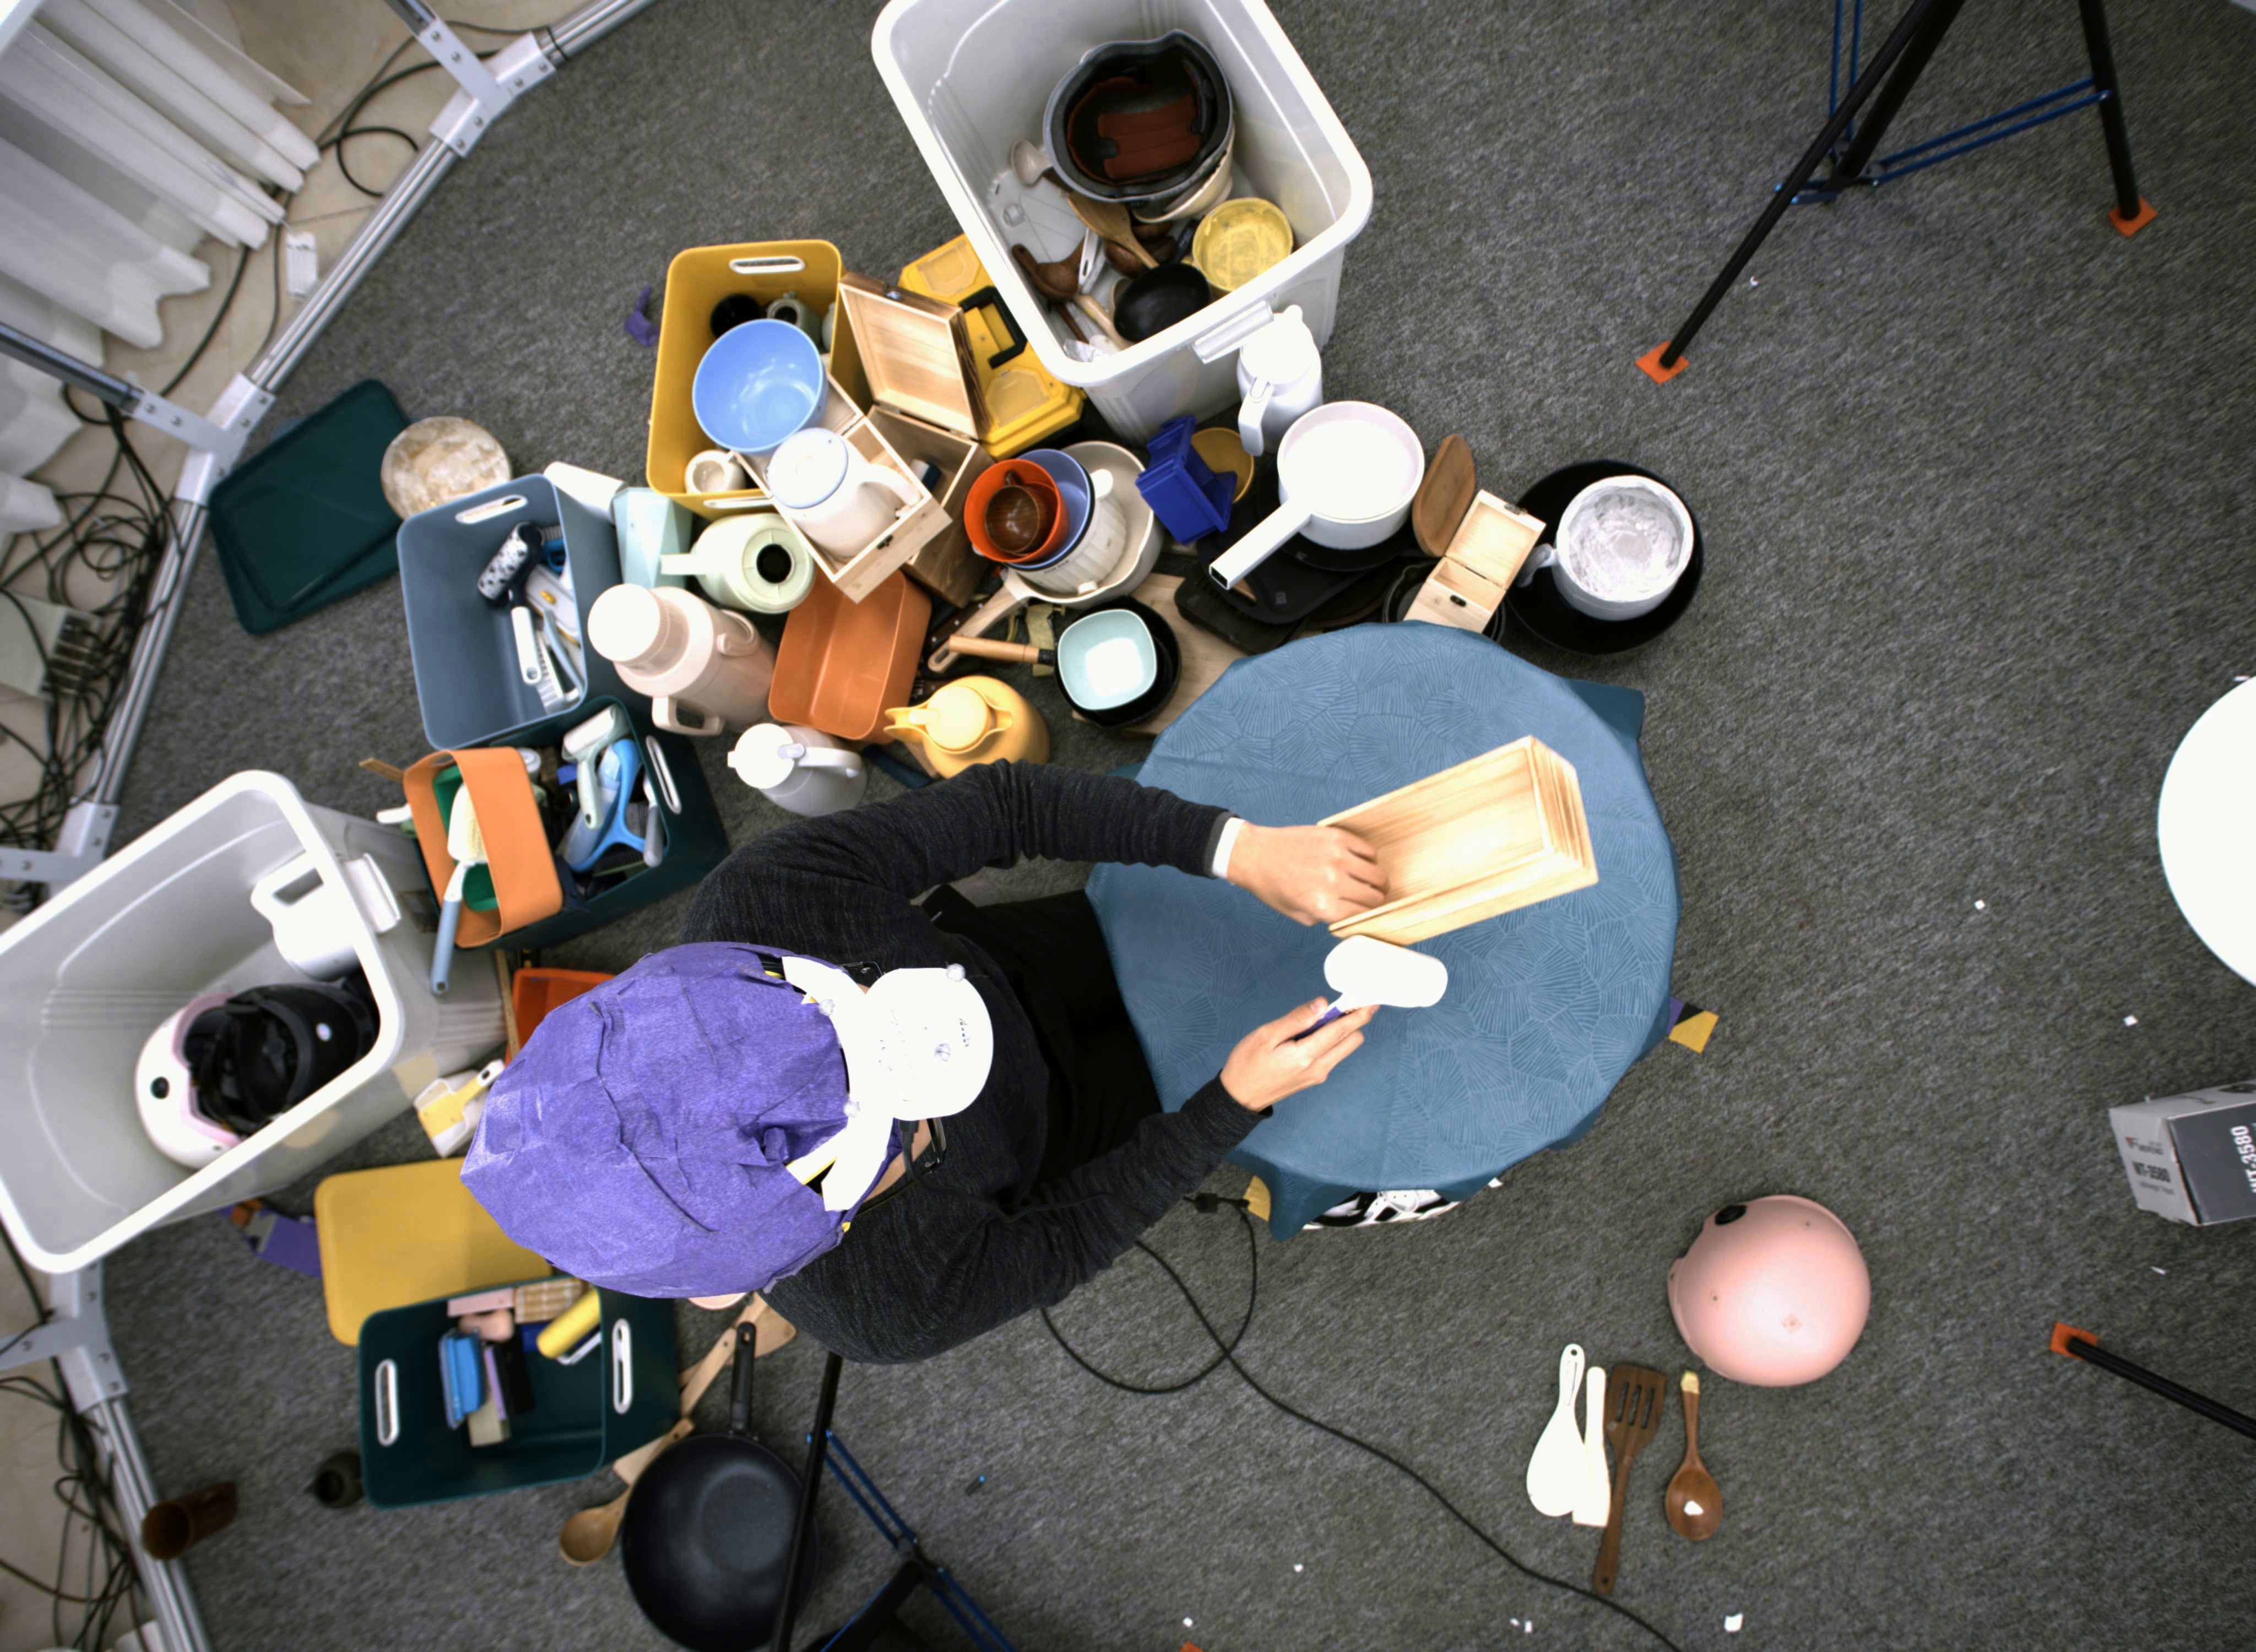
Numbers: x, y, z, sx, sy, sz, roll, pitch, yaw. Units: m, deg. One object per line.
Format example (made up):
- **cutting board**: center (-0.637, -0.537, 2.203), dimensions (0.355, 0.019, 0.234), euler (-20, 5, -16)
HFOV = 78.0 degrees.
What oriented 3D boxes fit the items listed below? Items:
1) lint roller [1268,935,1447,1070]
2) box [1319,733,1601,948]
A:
- **lint roller**: center (0.190, 0.171, 1.237), dimensions (0.184, 0.133, 0.049), euler (-50, 44, 25)
- **box**: center (0.274, 0.017, 1.157), dimensions (0.215, 0.080, 0.105), euler (-26, 58, 38)
